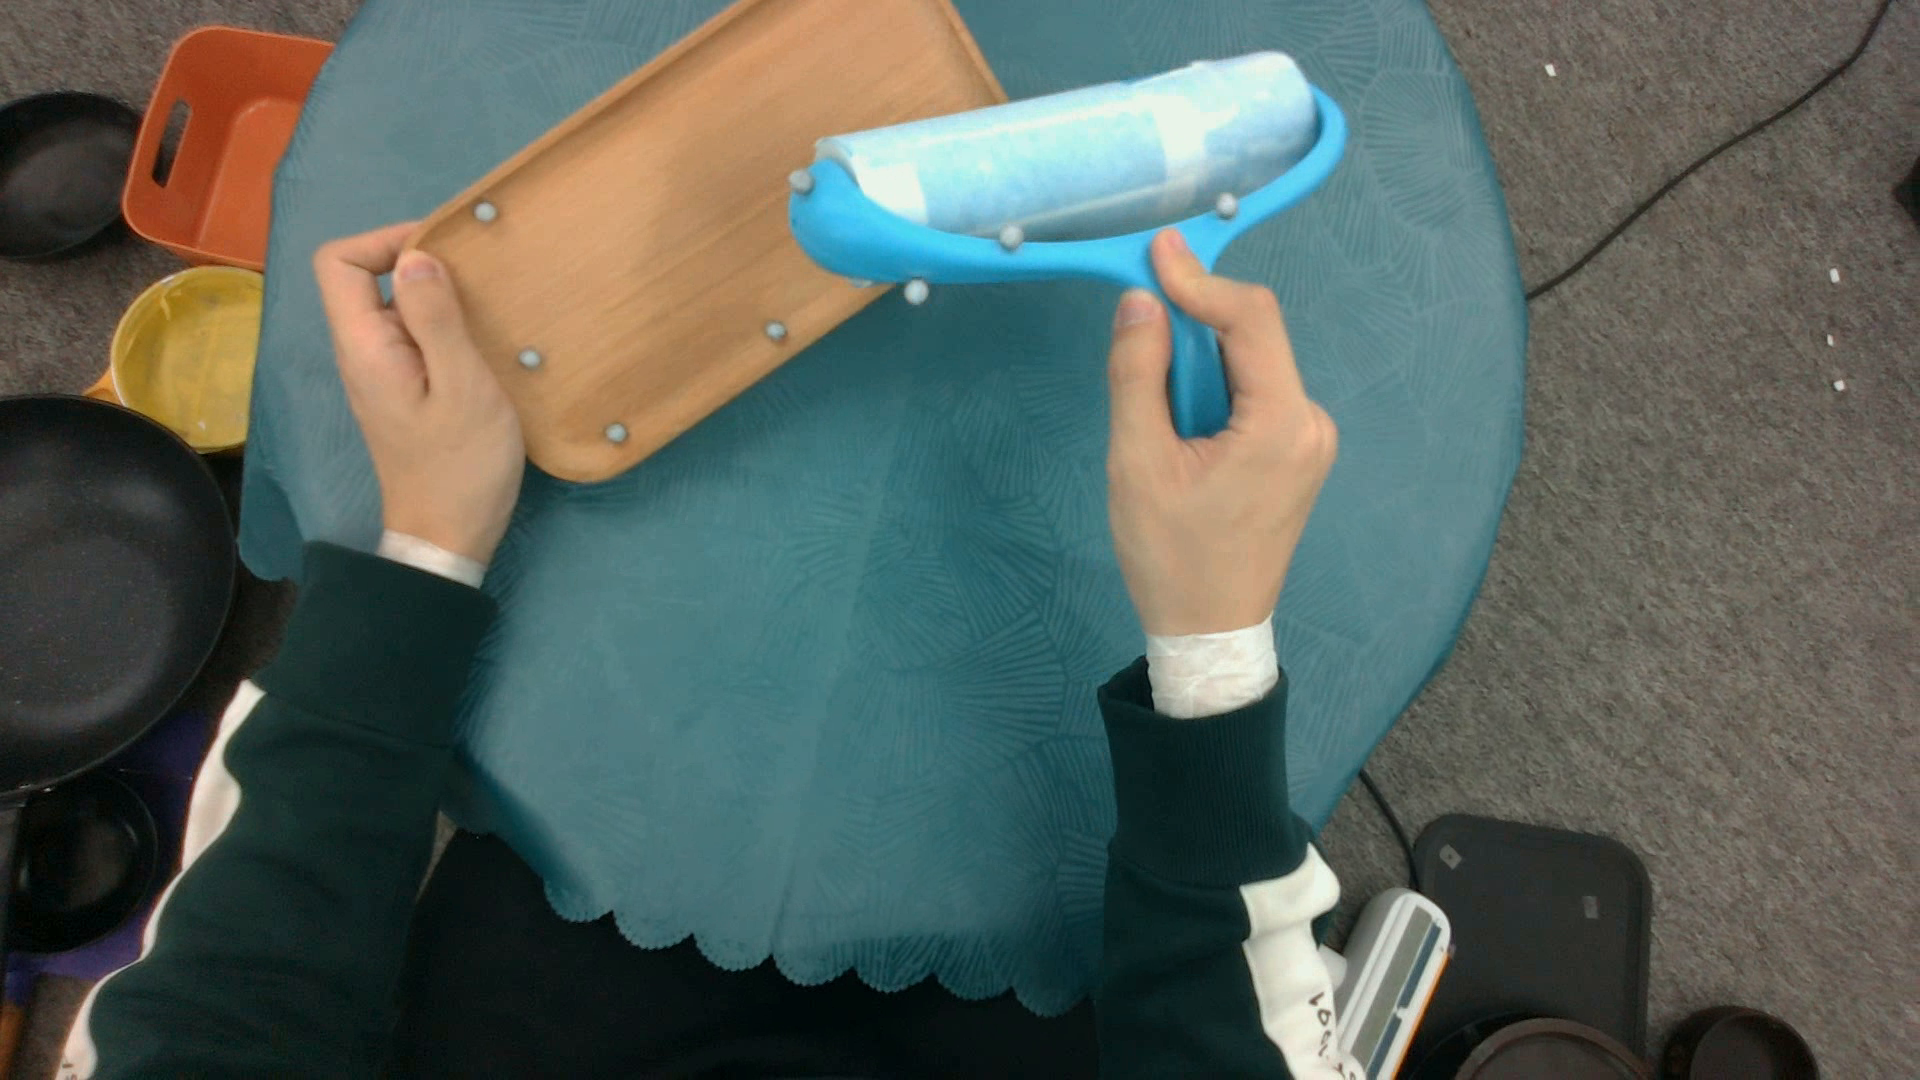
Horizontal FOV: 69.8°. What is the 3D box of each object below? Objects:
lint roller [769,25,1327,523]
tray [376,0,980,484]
[{"bbox_3d":[0.062,-0.098,0.511,0.229,0.067,0.180,-22,80,-24],"label":"lint roller"},{"bbox_3d":[-0.108,-0.137,0.573,0.251,0.023,0.130,-36,114,-3],"label":"tray"}]
